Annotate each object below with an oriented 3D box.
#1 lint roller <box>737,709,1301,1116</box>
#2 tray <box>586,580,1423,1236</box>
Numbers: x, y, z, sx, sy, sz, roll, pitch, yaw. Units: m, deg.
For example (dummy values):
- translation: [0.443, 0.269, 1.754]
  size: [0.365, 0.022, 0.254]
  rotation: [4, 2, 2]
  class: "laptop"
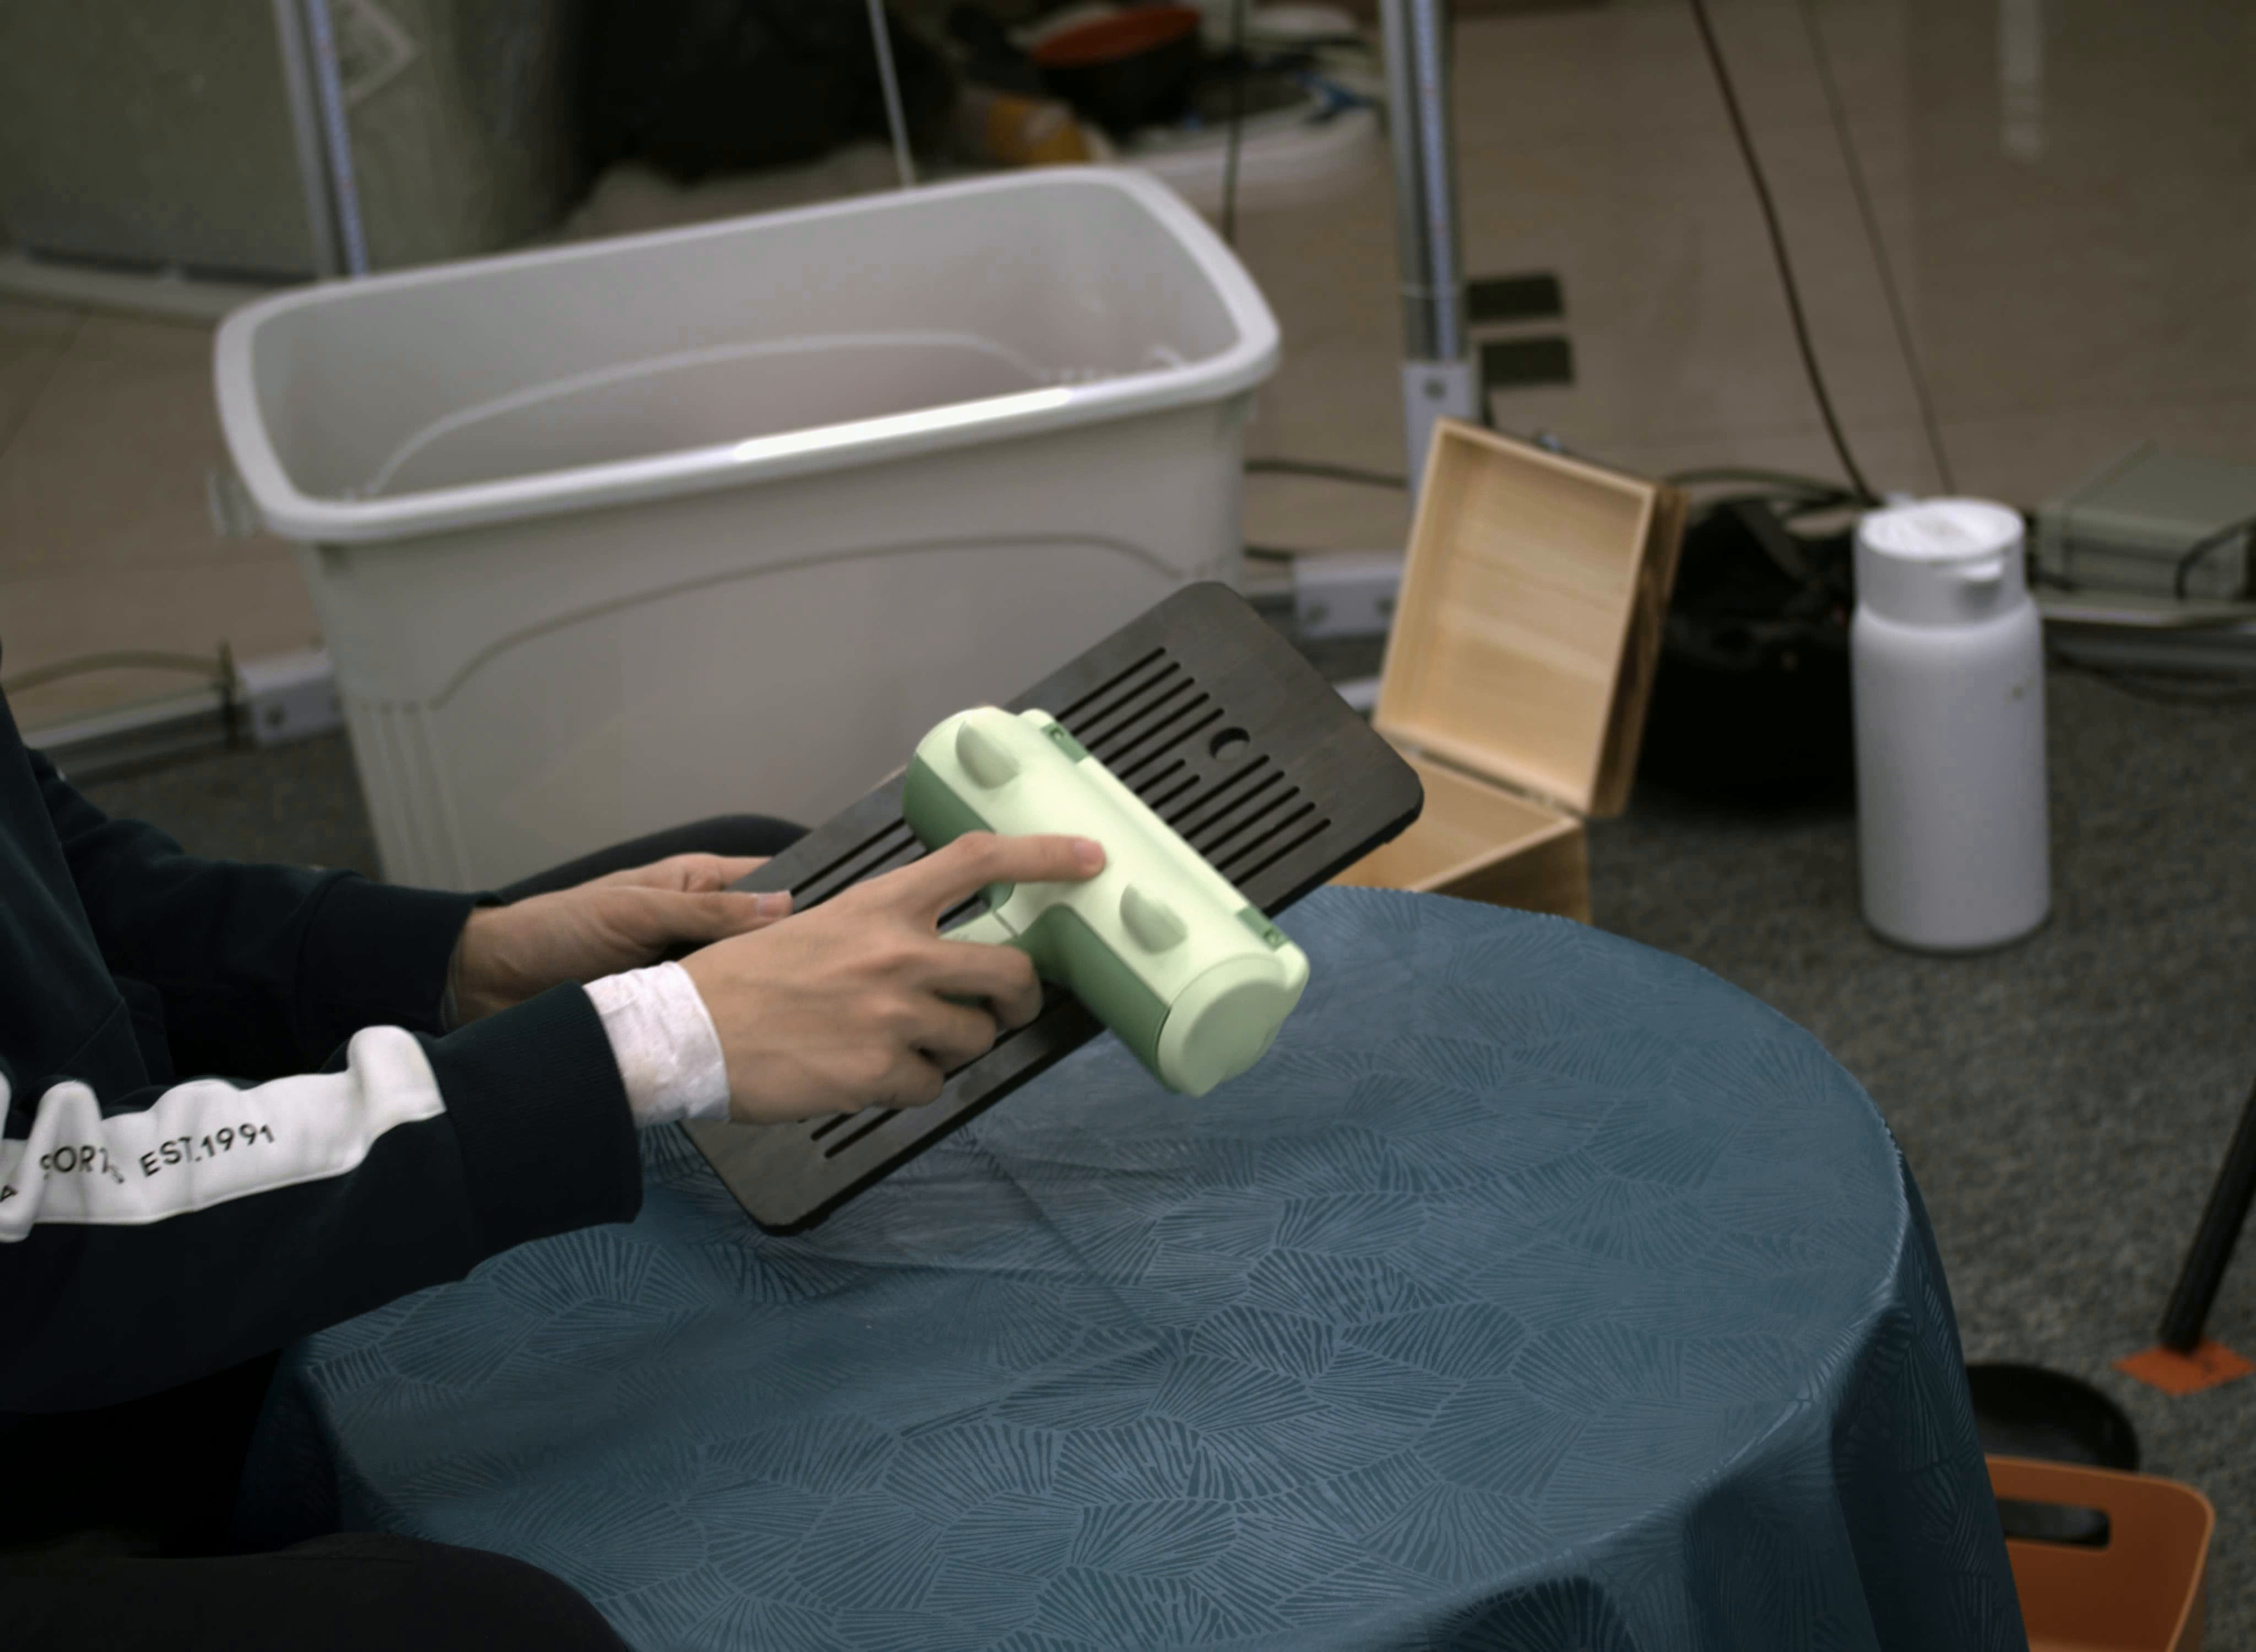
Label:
- translation: [-0.063, 0.041, 2.046]
  size: [0.182, 0.084, 0.196]
  rotation: [-24, 45, -22]
  class: "lint roller"
- translation: [-0.048, 0.030, 2.176]
  size: [0.305, 0.019, 0.167]
  rotation: [-34, 47, -8]
  class: "tray"
